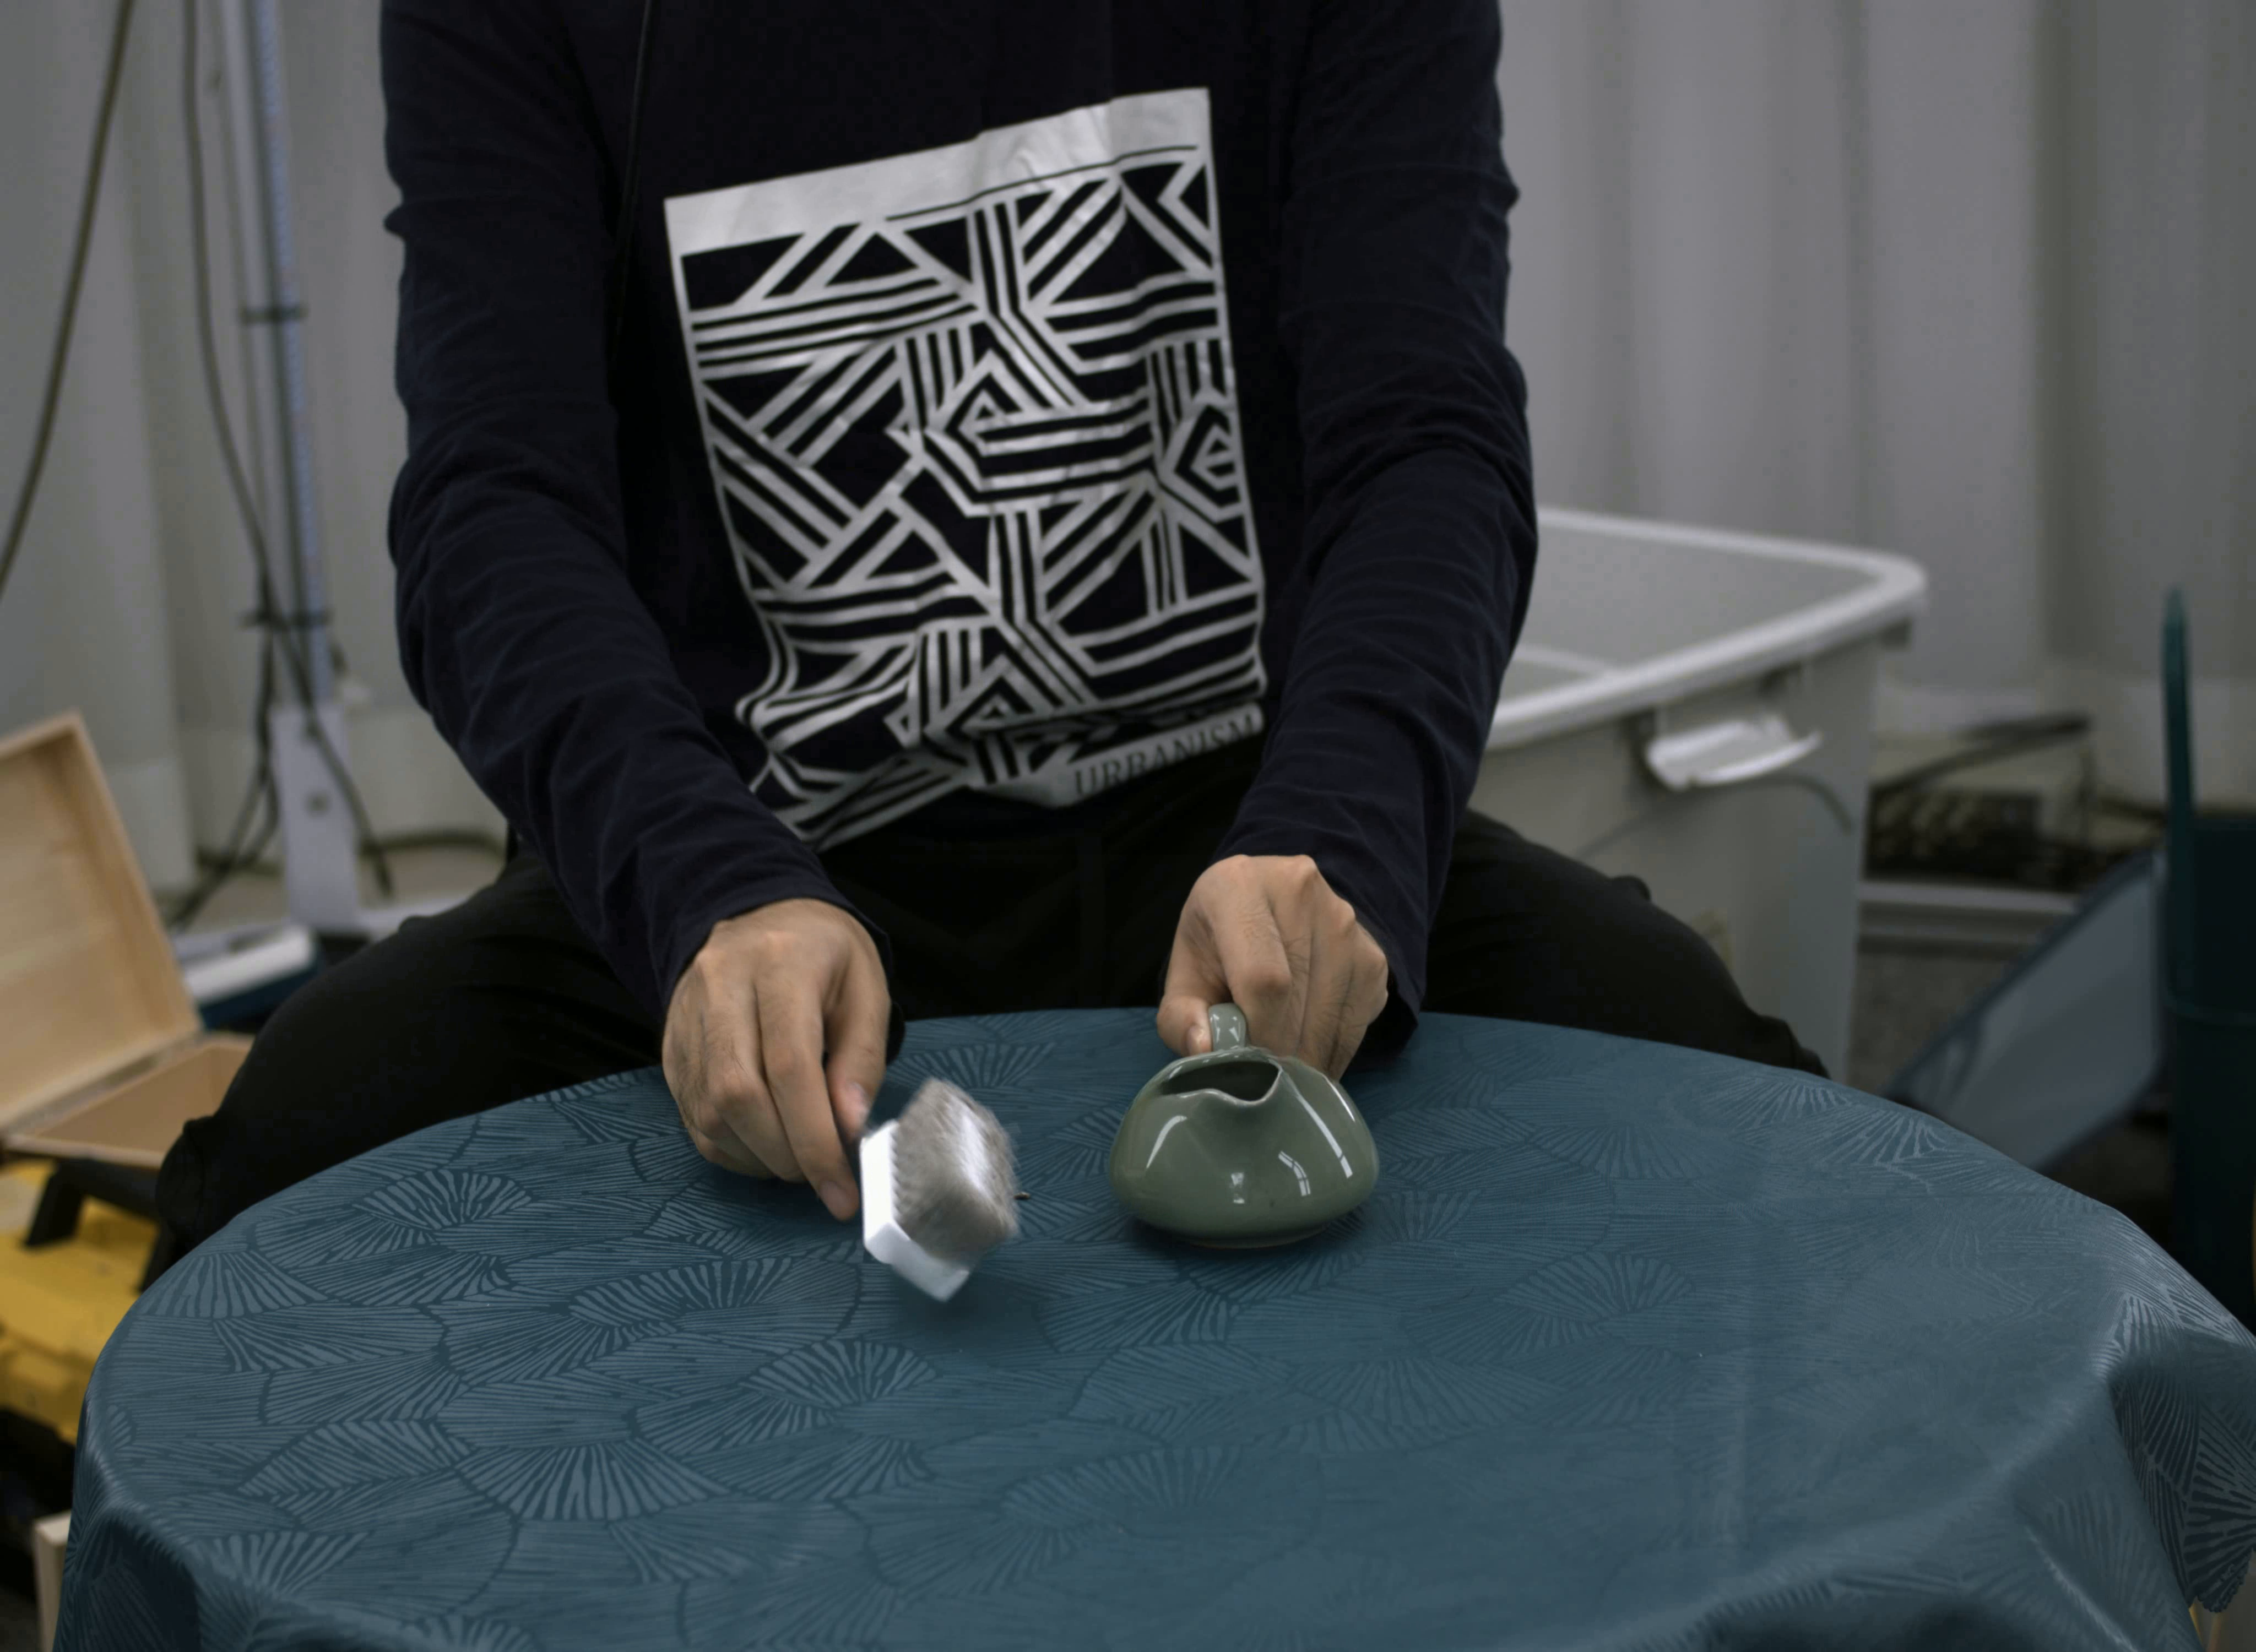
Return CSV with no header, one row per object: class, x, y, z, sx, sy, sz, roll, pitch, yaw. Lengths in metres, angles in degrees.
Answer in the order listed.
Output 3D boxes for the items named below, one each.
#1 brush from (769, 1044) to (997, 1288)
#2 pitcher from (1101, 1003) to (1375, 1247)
brush,-0.078,0.087,1.702,0.034,0.050,0.245,27,5,-15
pitcher,0.033,0.093,1.682,0.084,0.056,0.113,-3,13,-7
